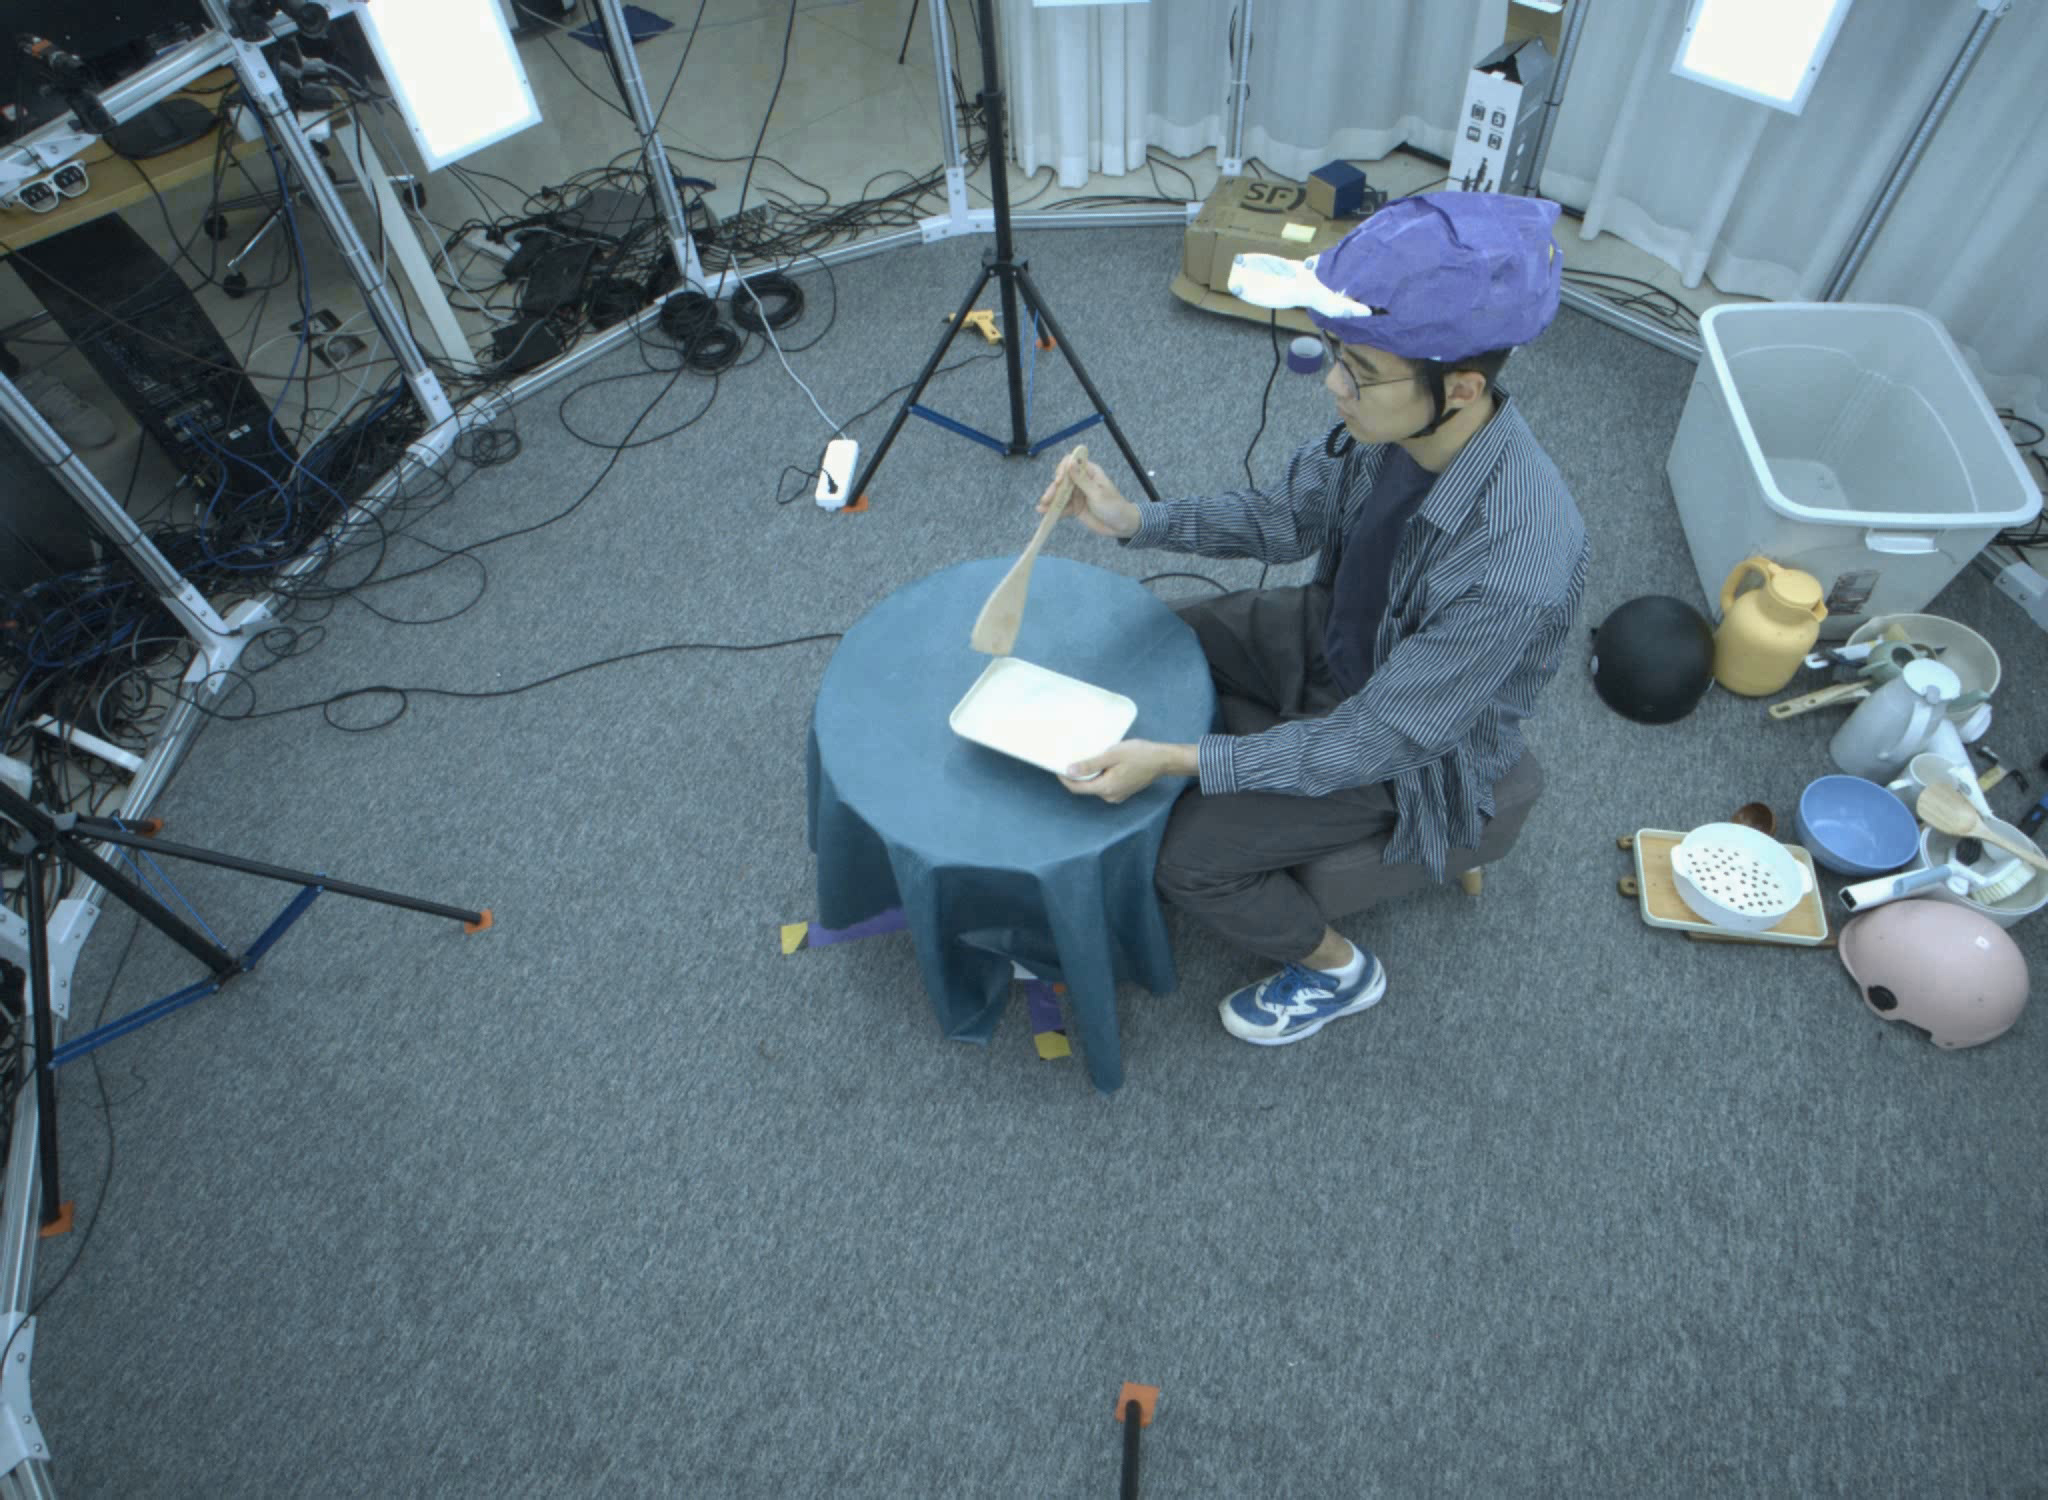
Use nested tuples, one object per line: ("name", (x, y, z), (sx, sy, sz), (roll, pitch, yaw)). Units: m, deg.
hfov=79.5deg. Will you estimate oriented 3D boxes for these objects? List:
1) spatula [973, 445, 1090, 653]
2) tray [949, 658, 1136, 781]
("spatula", (0.018, -0.285, 1.738), (0.016, 0.082, 0.327), (29, 95, 40))
("tray", (0.026, -0.045, 1.759), (0.236, 0.017, 0.172), (21, 53, 17))
